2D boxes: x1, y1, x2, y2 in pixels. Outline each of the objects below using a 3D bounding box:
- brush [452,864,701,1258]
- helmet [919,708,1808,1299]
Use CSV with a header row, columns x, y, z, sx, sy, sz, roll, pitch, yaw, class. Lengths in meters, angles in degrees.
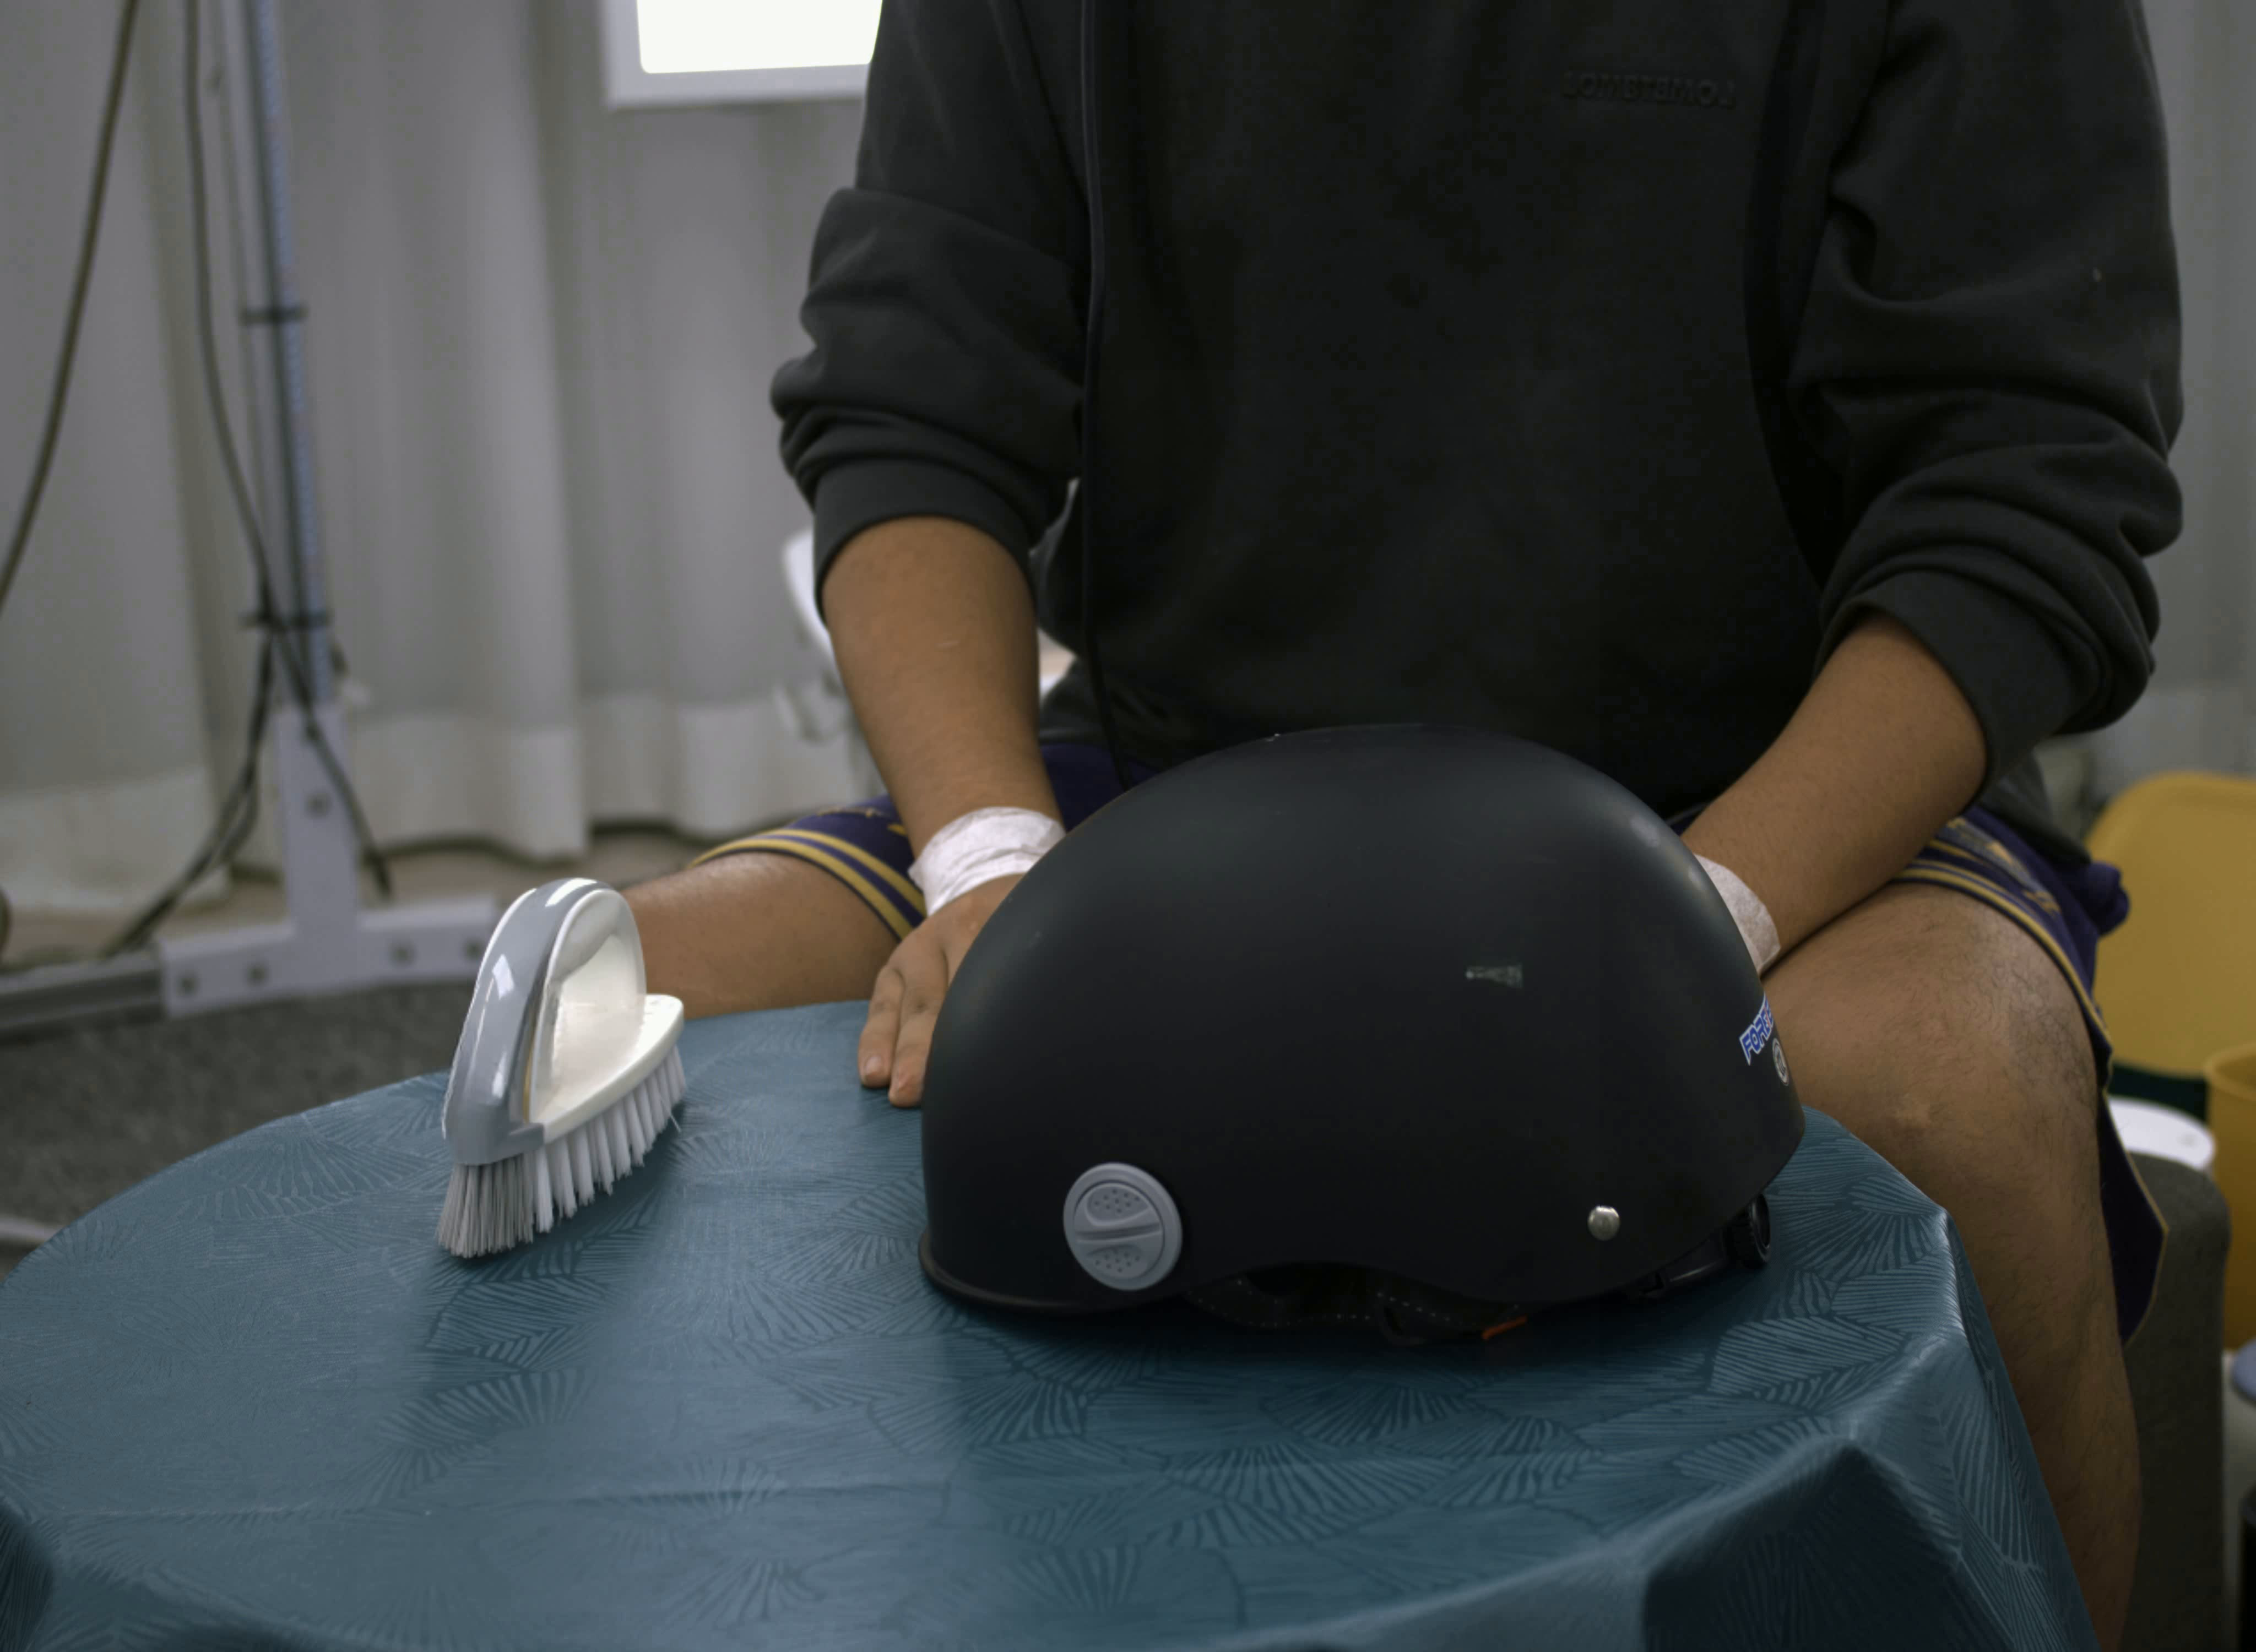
x,y,z,sx,sy,sz,roll,pitch,yaw,class
-0.185,0.069,1.748,0.061,0.094,0.176,-1,17,12,brush
0.065,0.050,1.639,0.273,0.166,0.231,0,14,19,helmet
